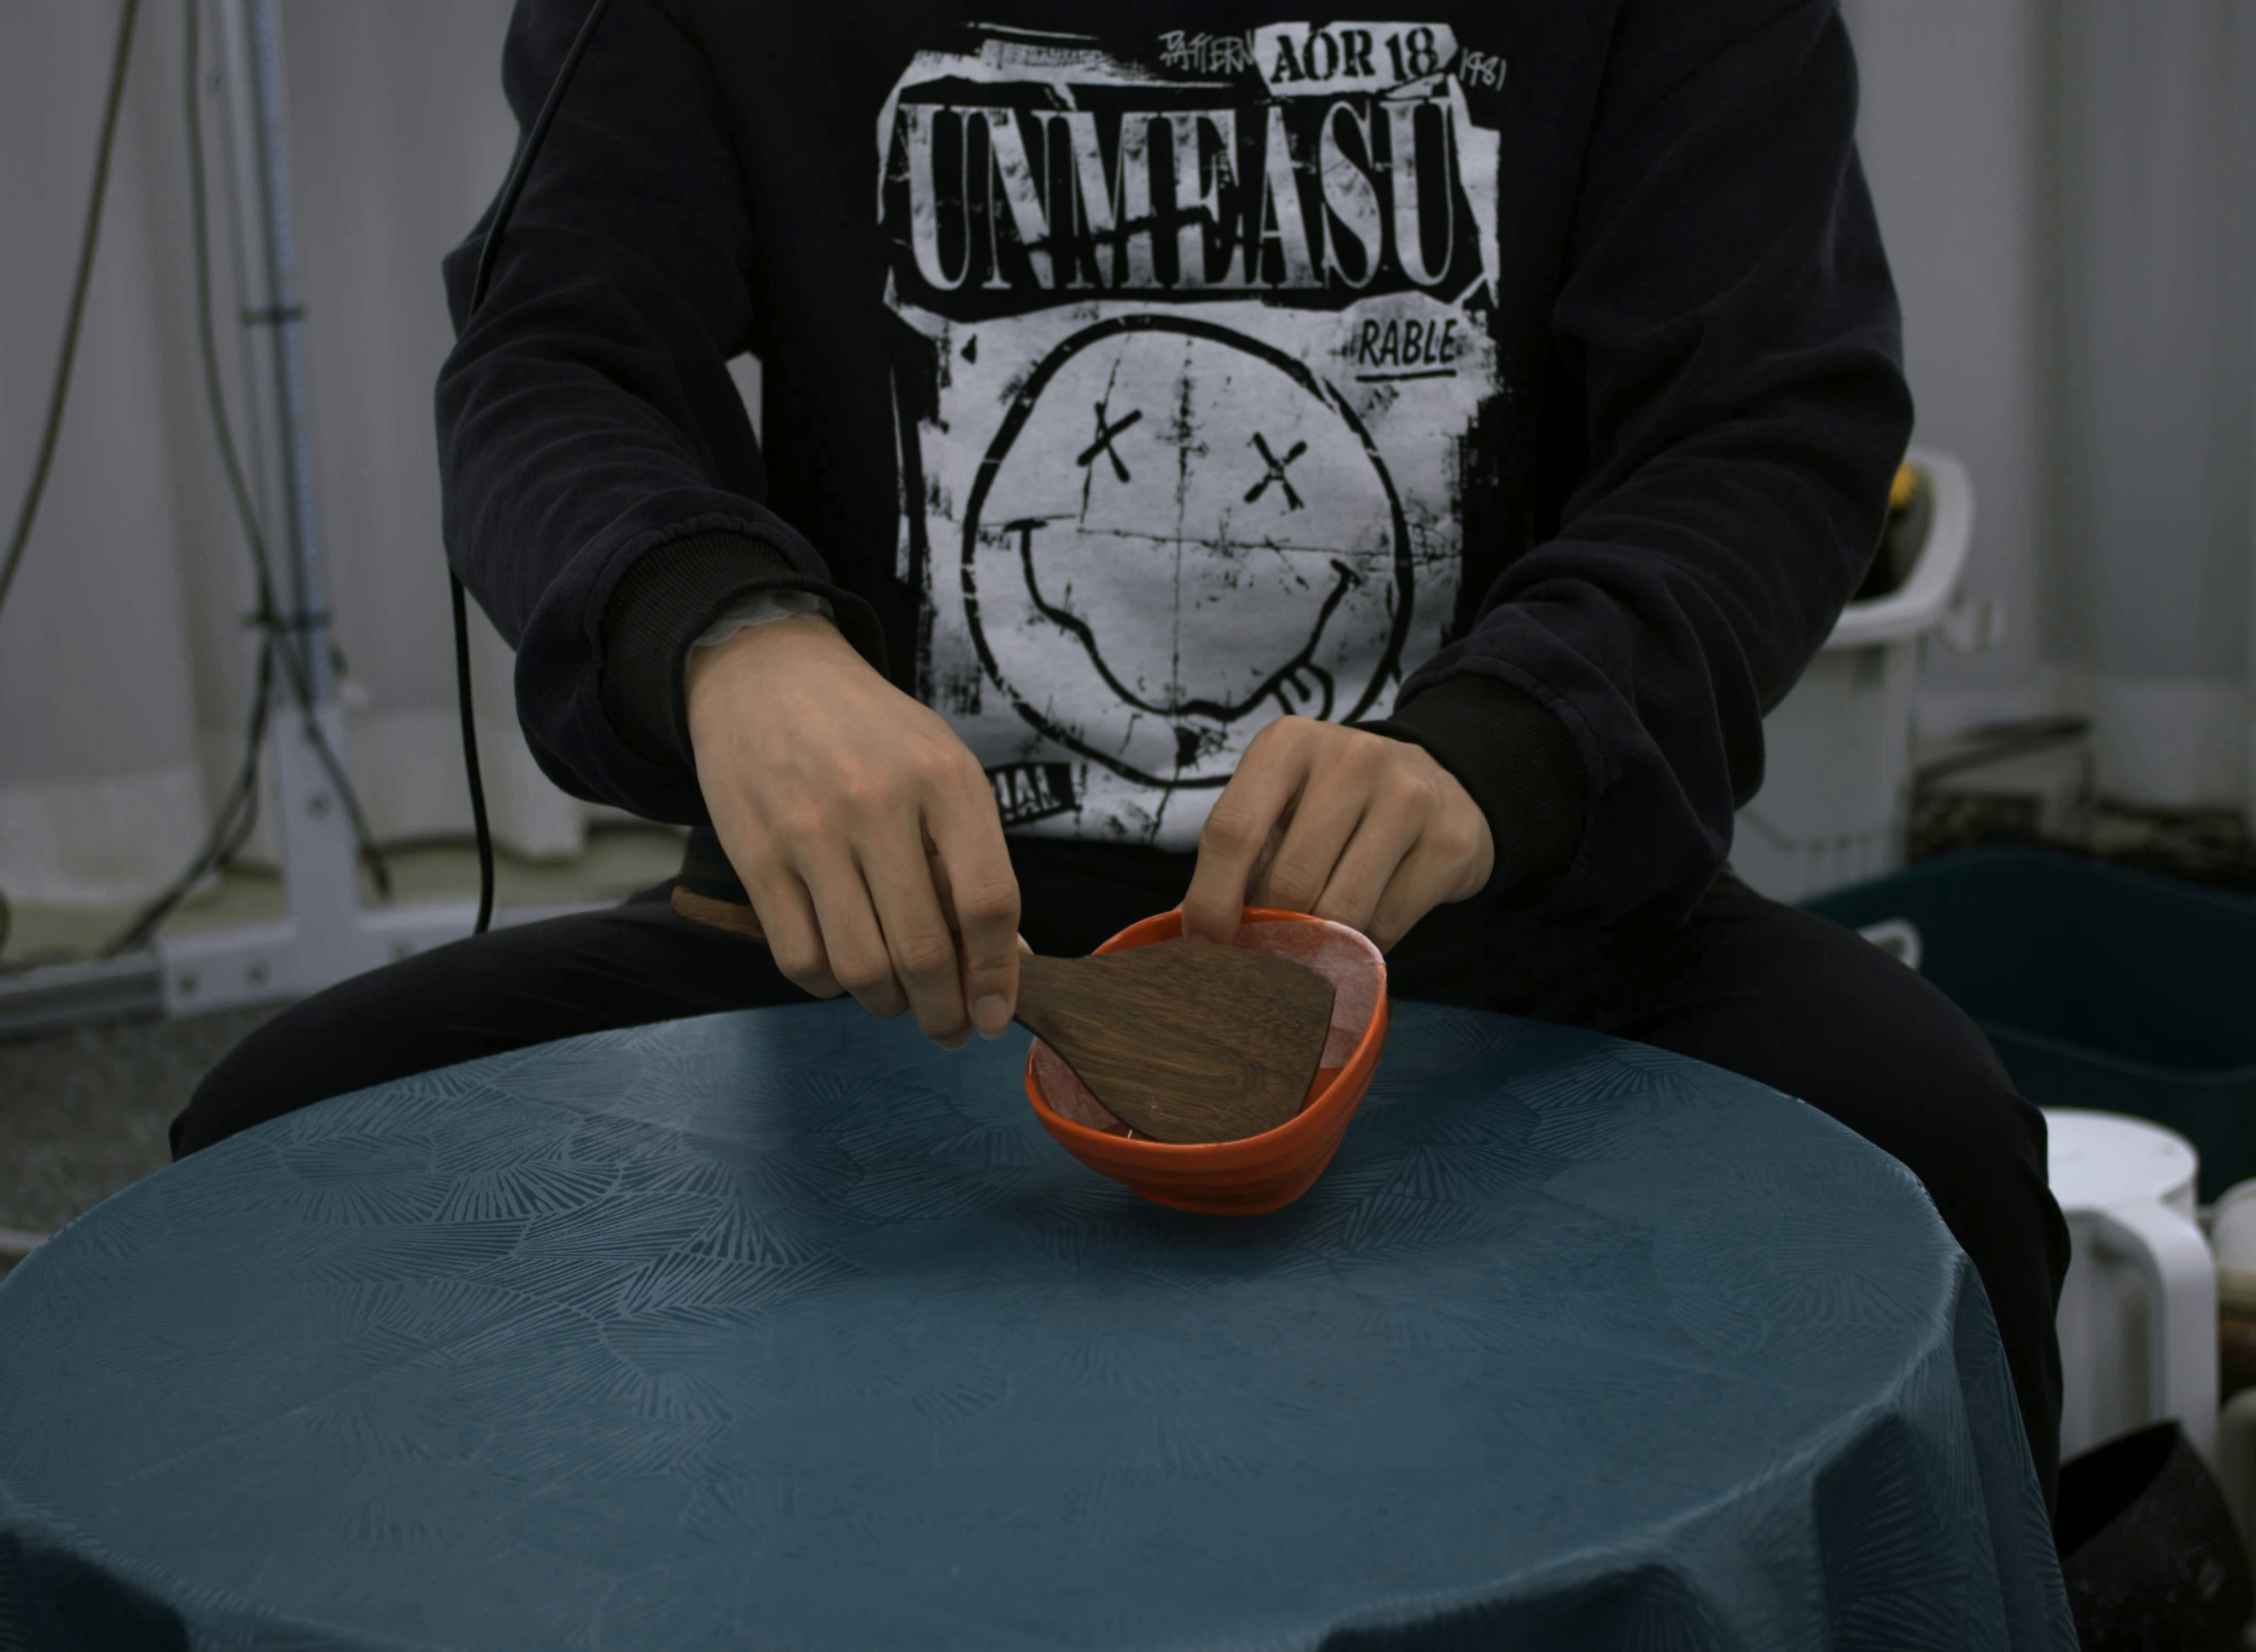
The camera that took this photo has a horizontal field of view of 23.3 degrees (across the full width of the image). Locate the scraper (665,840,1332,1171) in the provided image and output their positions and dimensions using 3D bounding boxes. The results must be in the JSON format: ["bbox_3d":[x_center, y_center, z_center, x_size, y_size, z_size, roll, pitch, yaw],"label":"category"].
[{"bbox_3d":[-0.042,0.046,1.687,0.211,0.010,0.076,18,60,9],"label":"scraper"}]

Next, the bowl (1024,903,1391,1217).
[{"bbox_3d":[0.029,0.079,1.699,0.118,0.051,0.121,-10,39,8],"label":"bowl"}]
